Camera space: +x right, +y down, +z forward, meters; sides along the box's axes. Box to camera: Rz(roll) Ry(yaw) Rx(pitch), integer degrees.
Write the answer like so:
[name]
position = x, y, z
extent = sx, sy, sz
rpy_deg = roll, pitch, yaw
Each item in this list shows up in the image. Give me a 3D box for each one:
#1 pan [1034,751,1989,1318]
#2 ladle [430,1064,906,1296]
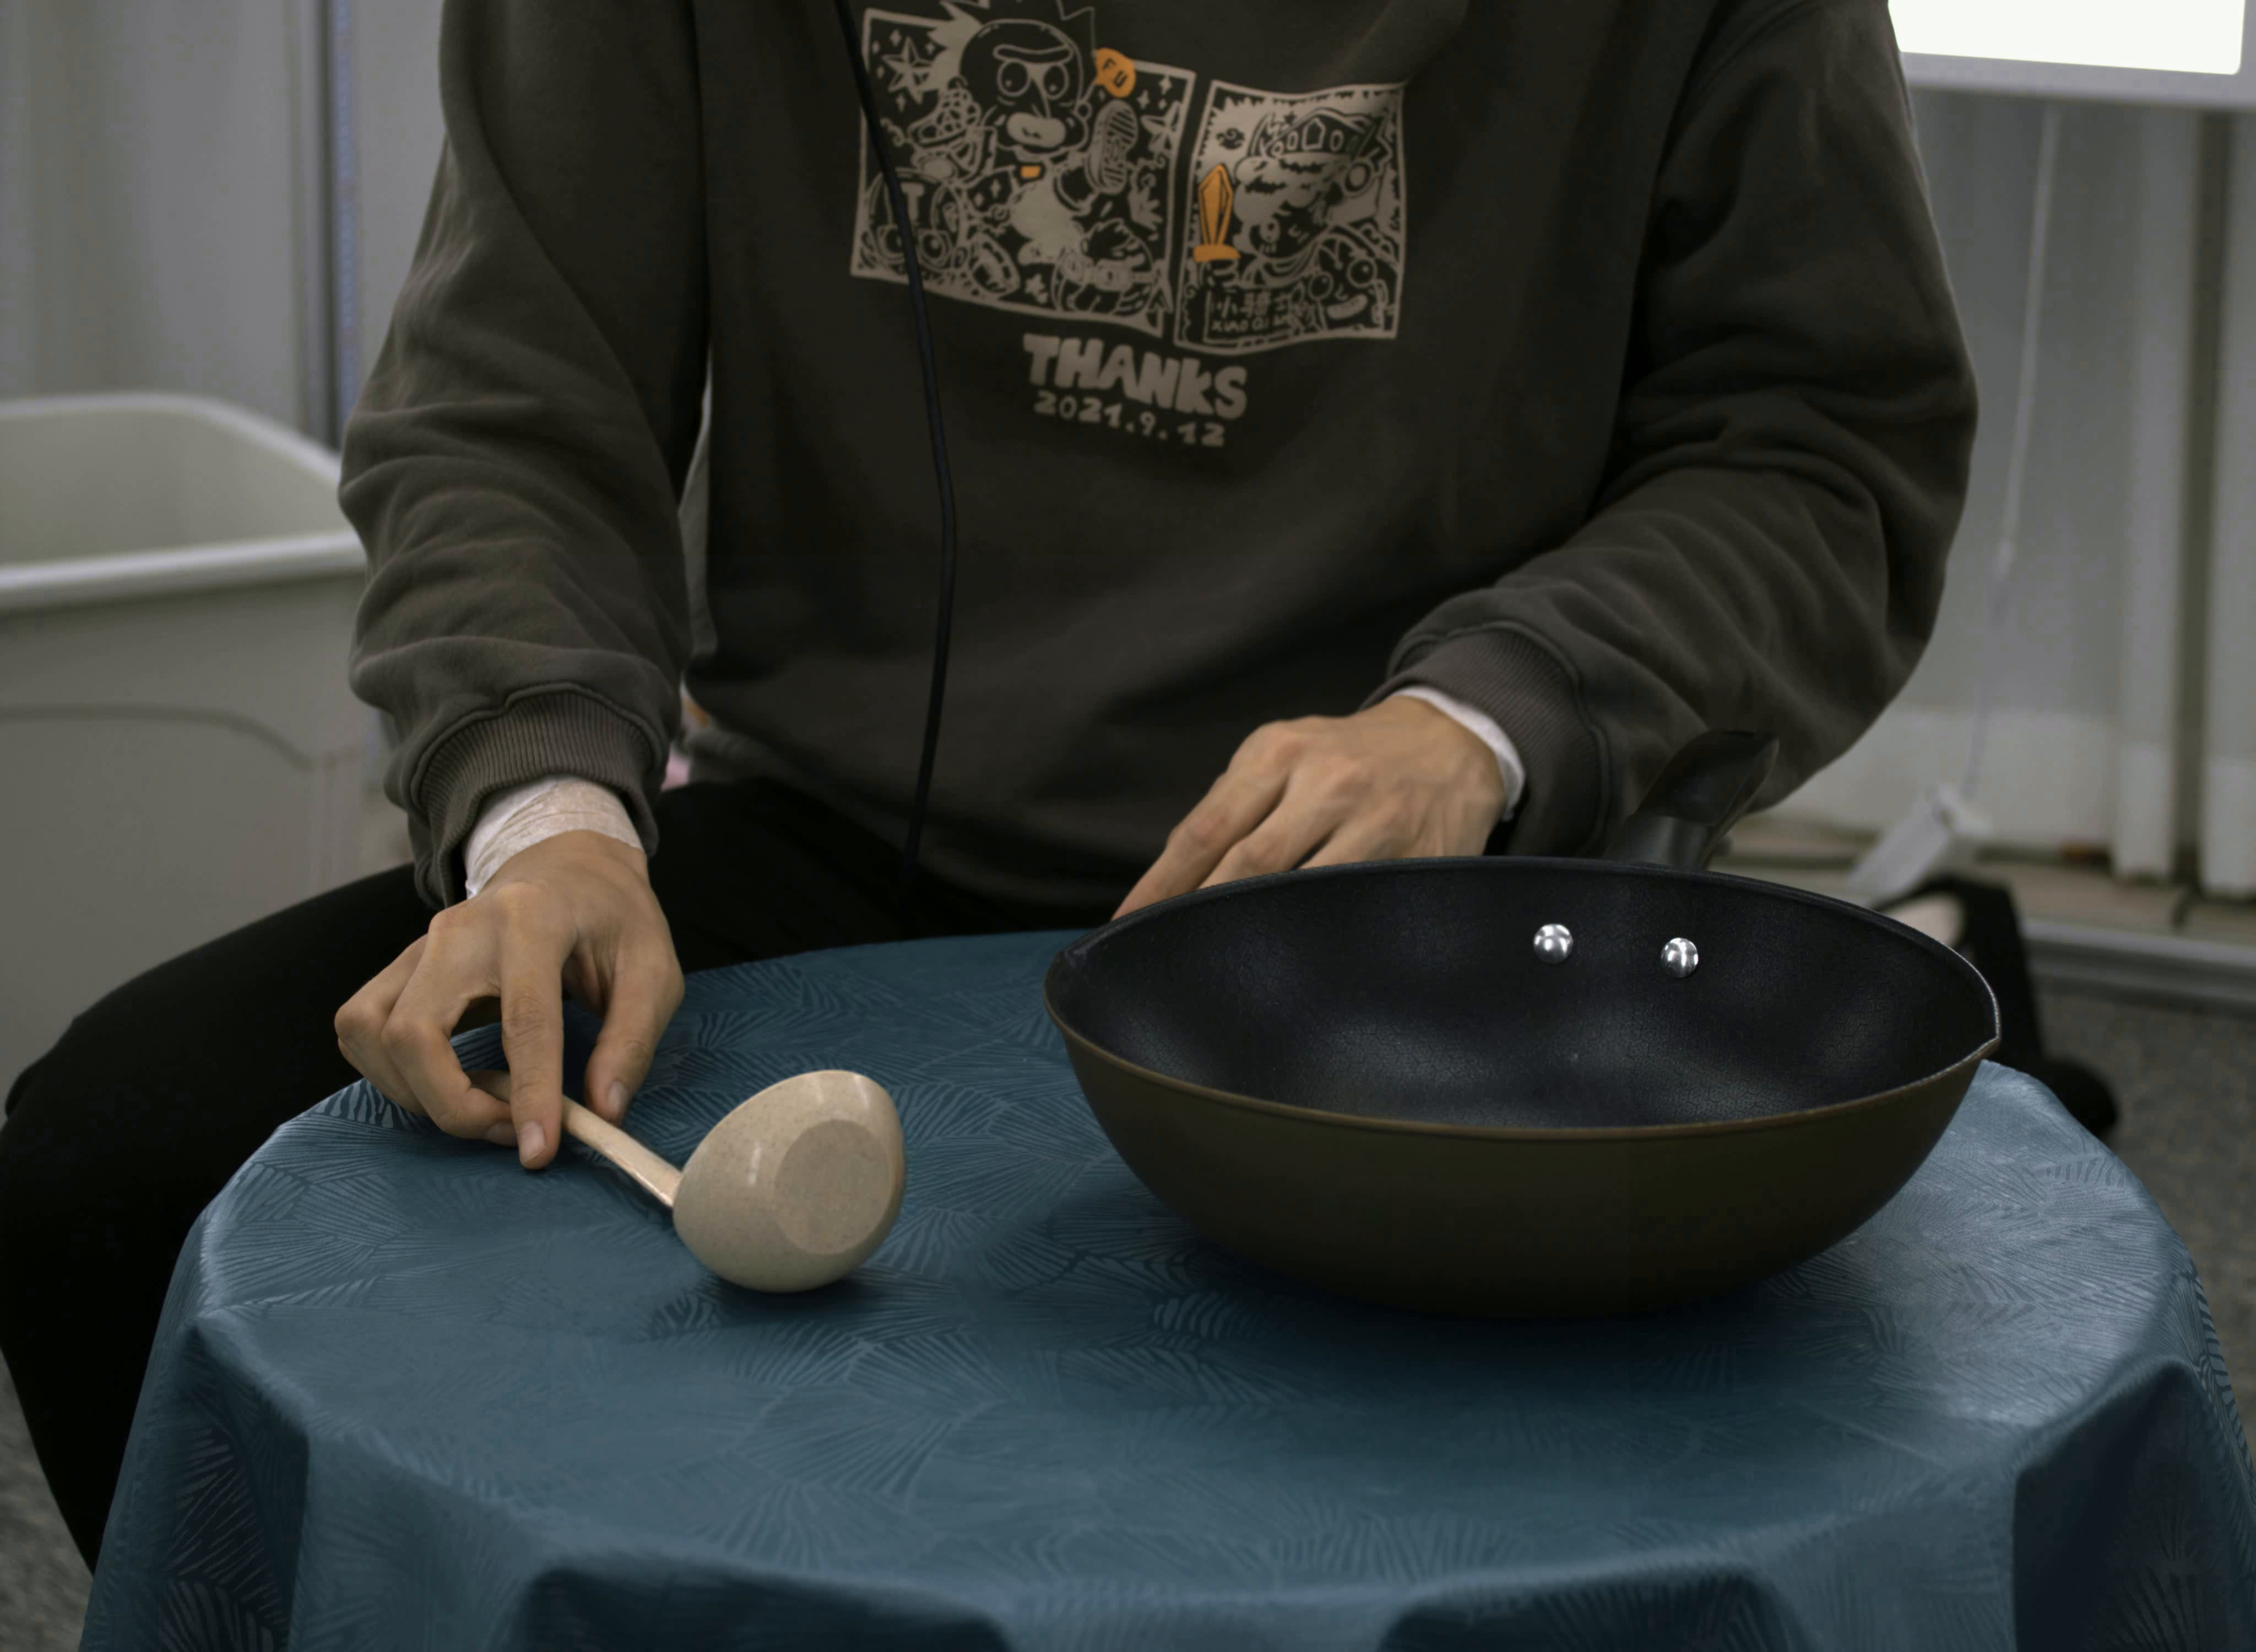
[pan]
position = 0.142, 0.062, 1.662
extent = 0.285, 0.087, 0.463
rpy_deg = 5, 15, 18
[ladle]
position = -0.153, 0.078, 1.610
extent = 0.072, 0.073, 0.251
rpy_deg = -12, 21, -32
